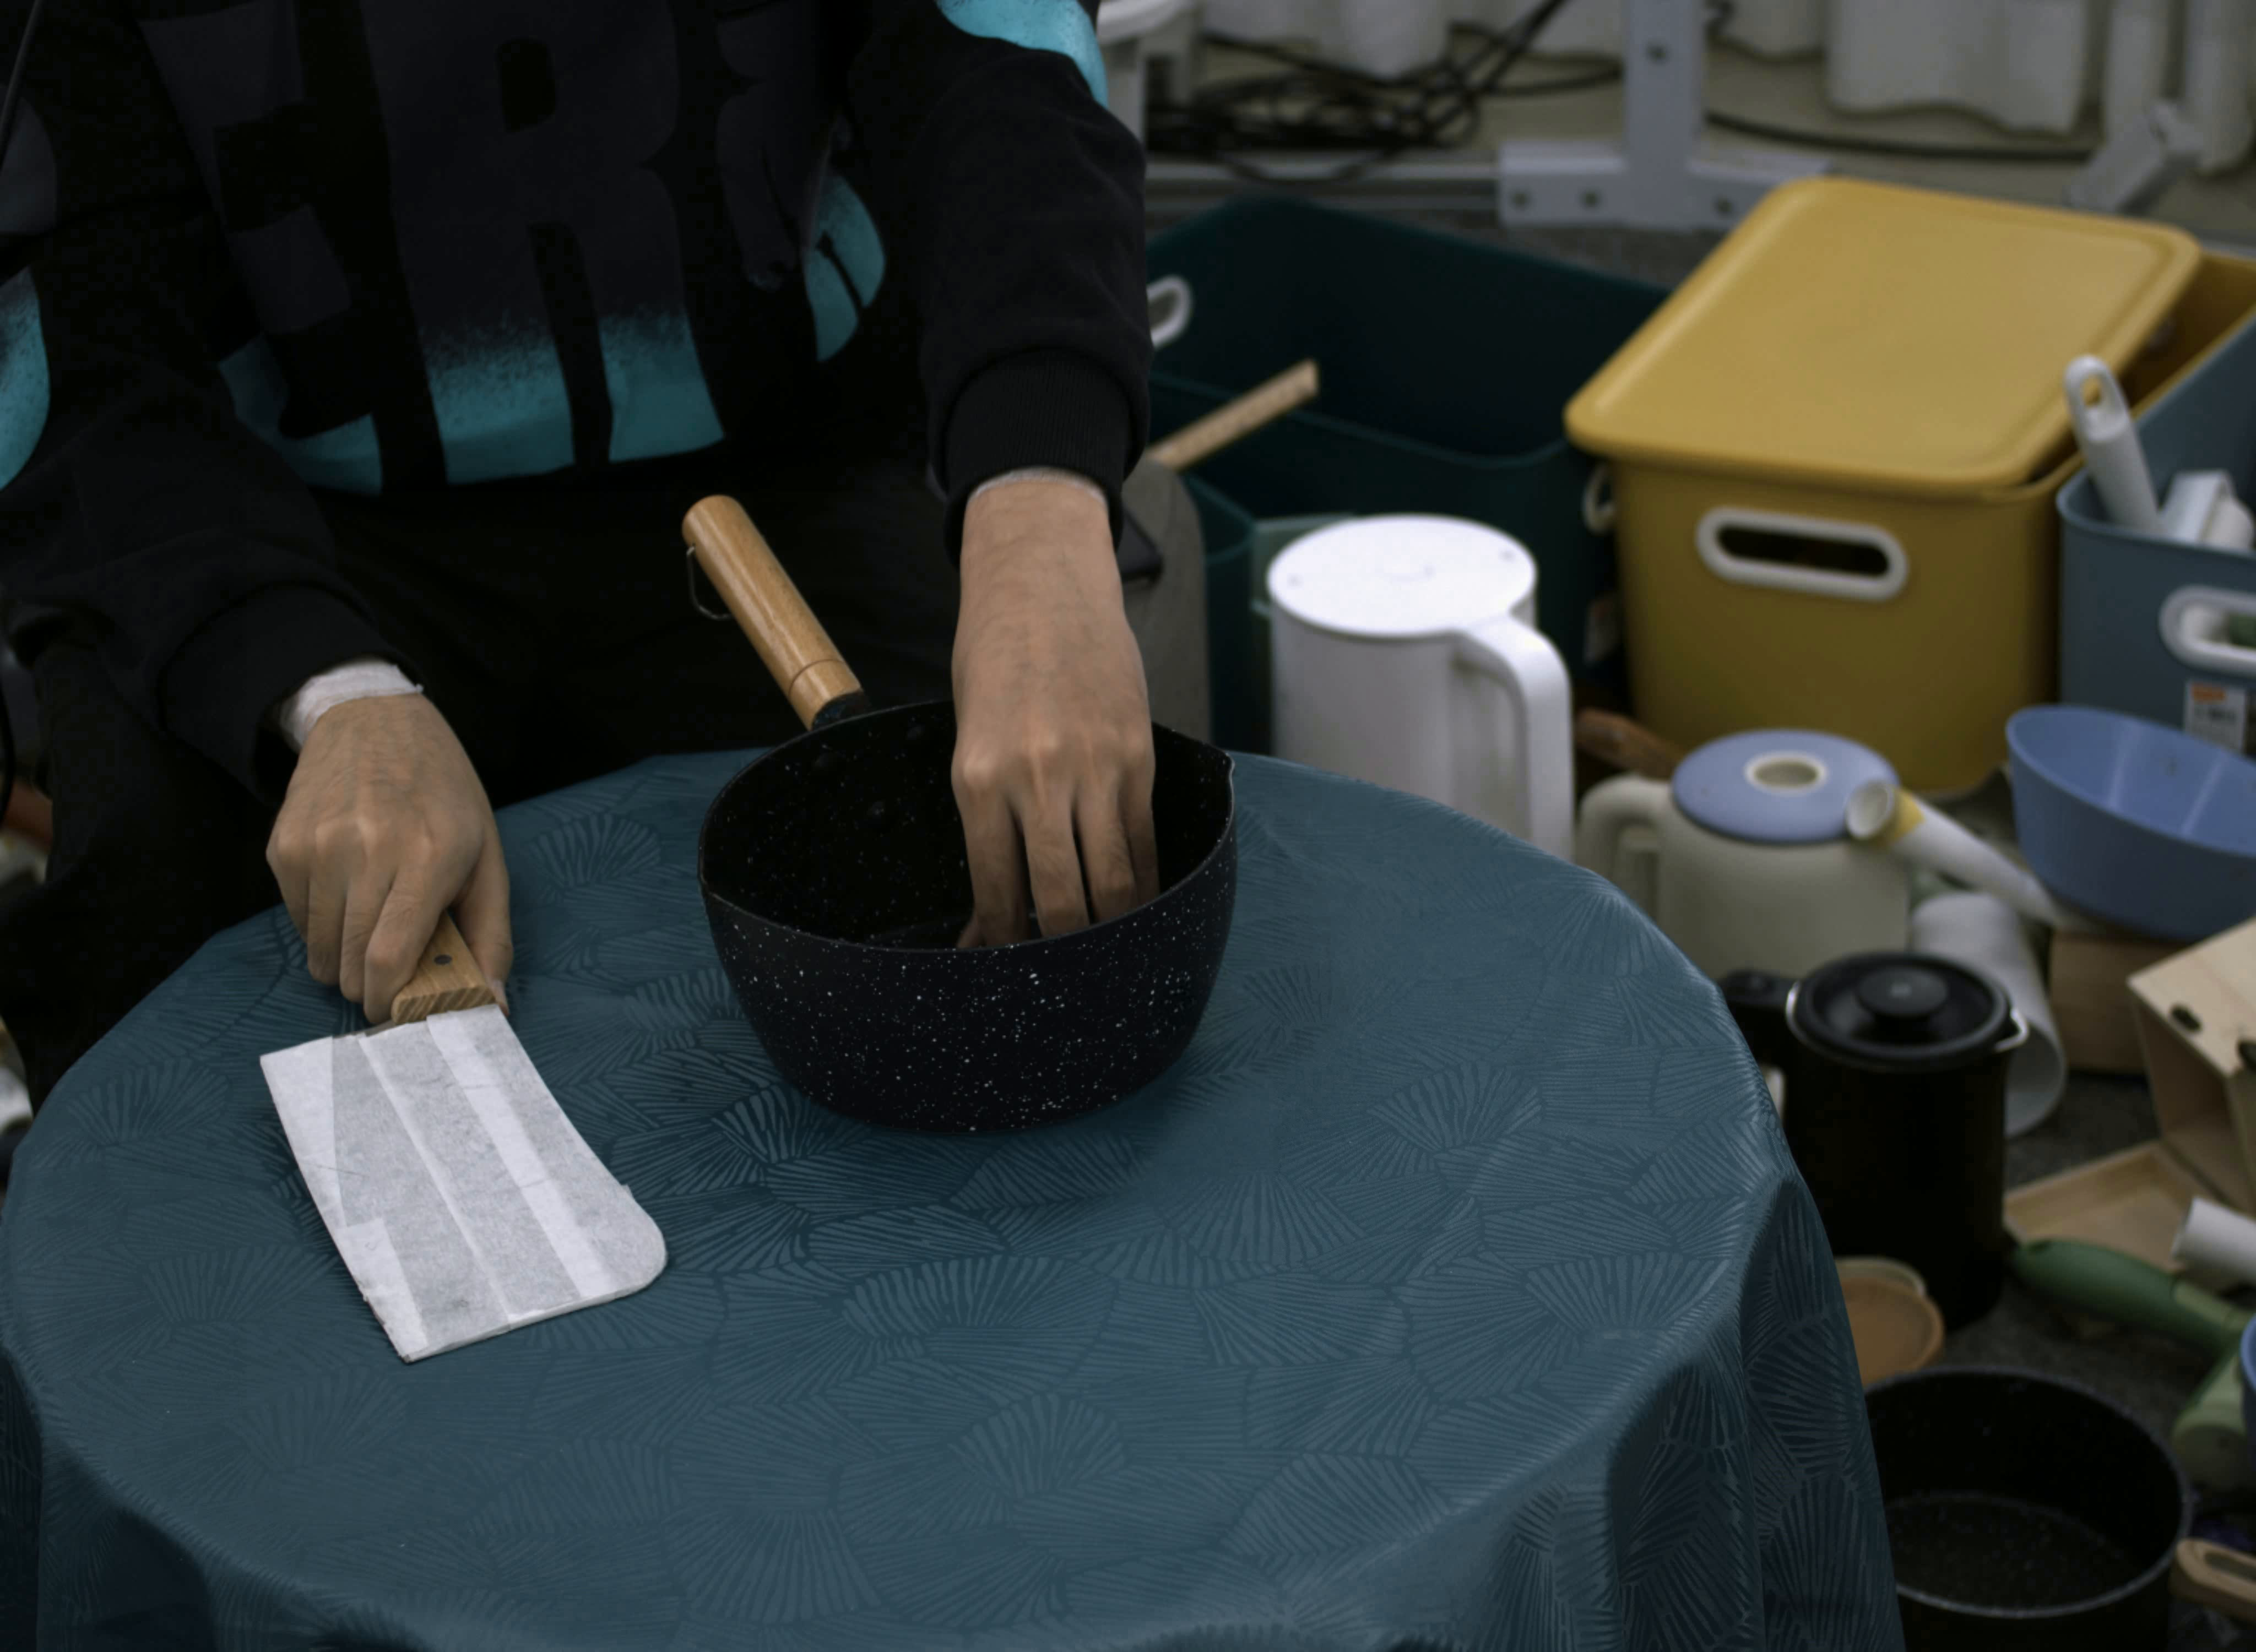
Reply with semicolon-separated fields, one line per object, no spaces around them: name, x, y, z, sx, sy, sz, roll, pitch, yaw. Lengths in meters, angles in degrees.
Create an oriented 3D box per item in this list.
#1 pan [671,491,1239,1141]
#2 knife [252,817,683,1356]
pan;-0.088;-0.008;2.003;0.208;0.107;0.345;-16;31;-21
knife;-0.240;0.085;1.927;0.114;0.021;0.319;-11;33;-16
